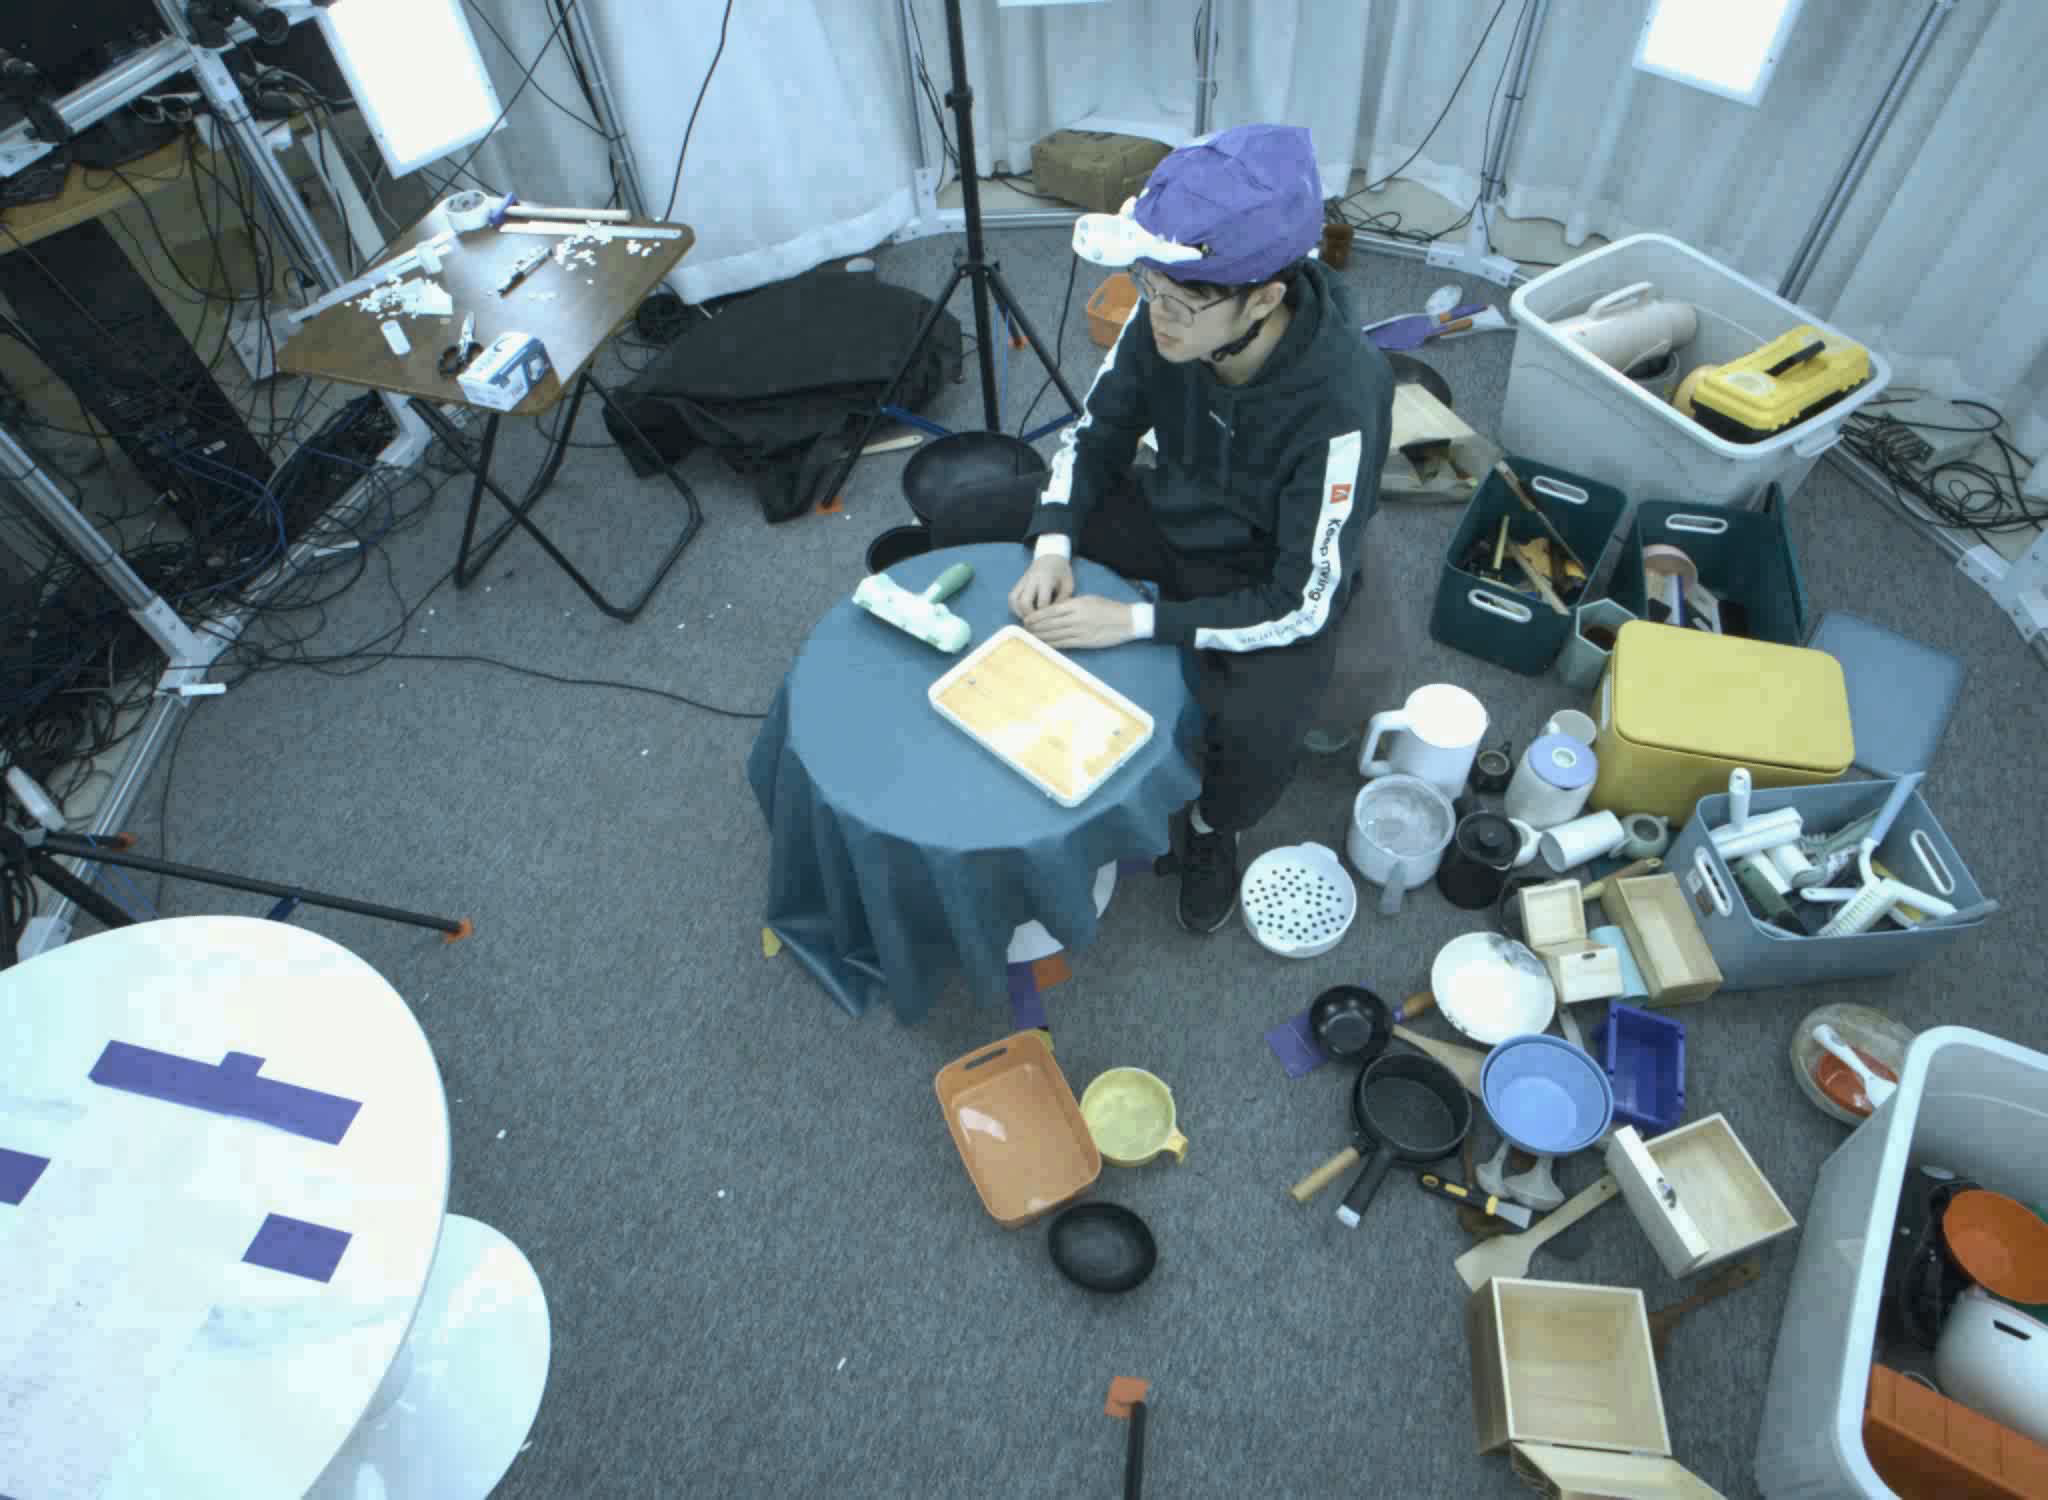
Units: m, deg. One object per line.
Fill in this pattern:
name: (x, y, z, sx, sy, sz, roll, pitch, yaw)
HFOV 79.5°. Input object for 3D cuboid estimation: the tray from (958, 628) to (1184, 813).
tray: (0.066, -0.049, 1.799, 0.193, 0.028, 0.295, -39, 62, -24)

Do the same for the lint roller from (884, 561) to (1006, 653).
lint roller: (-0.092, -0.254, 1.919, 0.195, 0.083, 0.184, 31, 66, 22)
